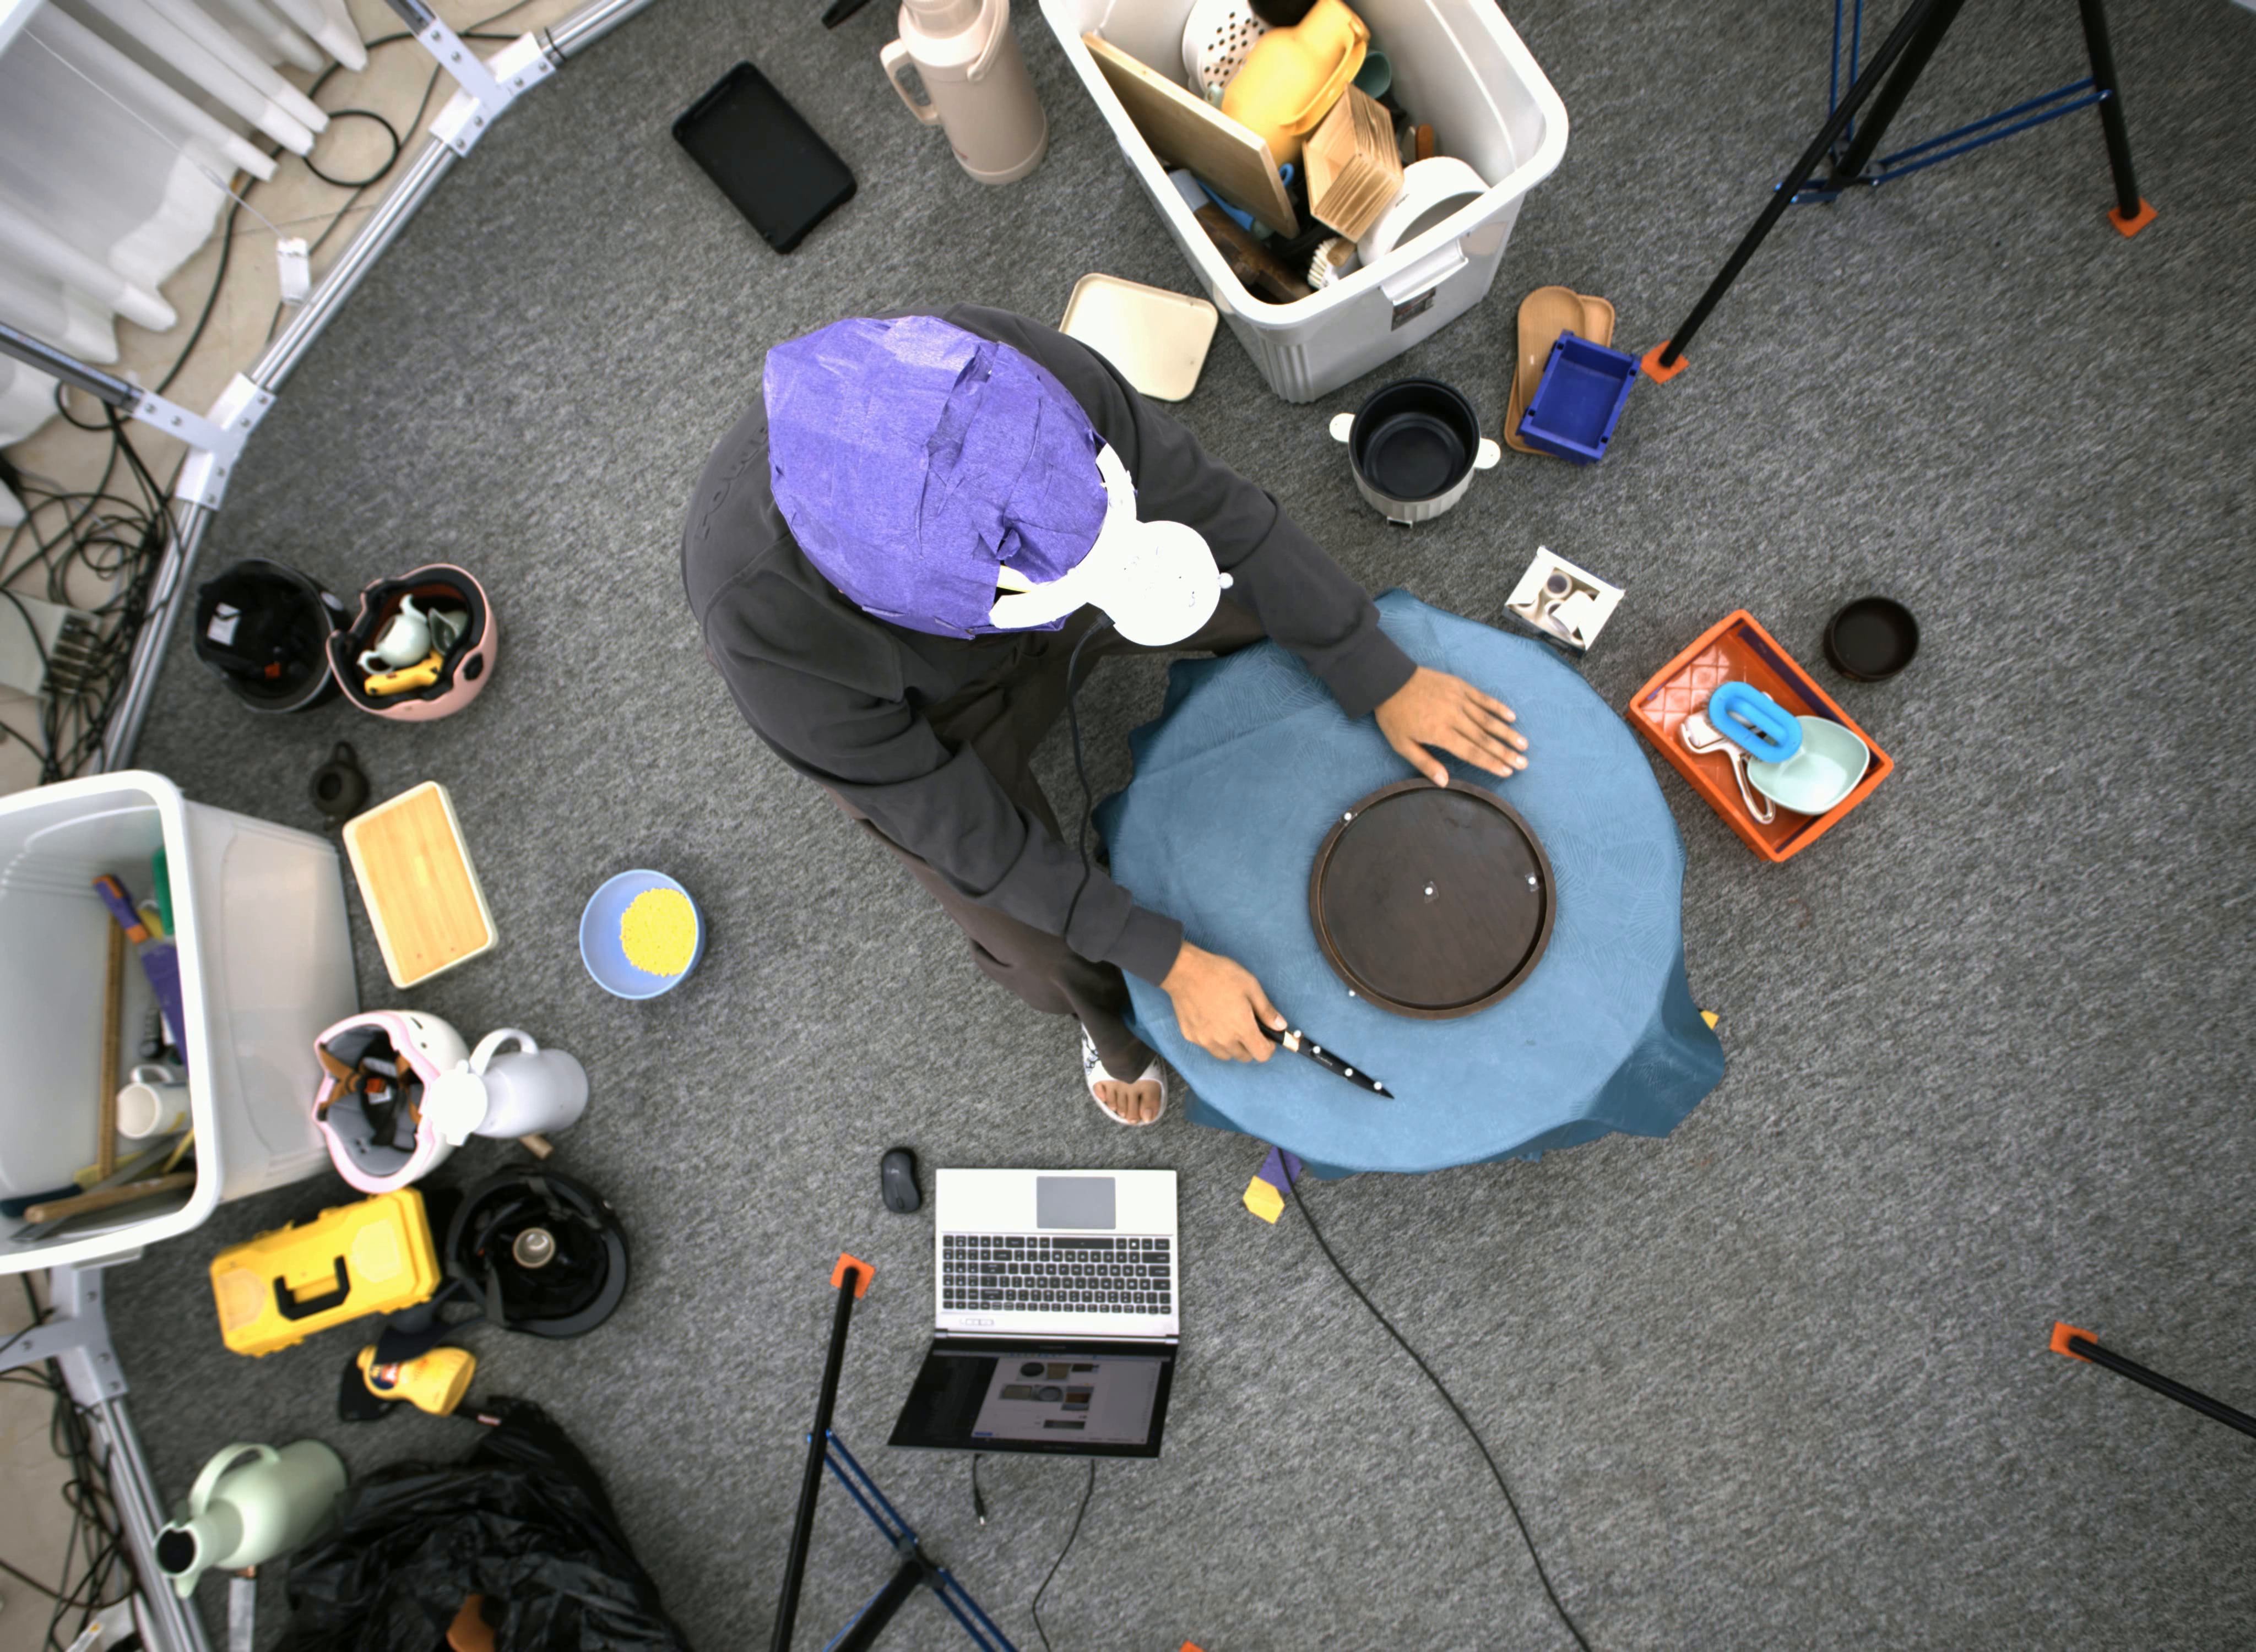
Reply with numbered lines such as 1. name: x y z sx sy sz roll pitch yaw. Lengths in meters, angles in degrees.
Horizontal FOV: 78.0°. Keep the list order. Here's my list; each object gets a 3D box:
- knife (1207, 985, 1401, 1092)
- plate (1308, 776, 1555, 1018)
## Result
1. knife: 0.184 0.225 1.453 0.225 0.025 0.018 28 137 7
2. plate: 0.316 0.072 1.440 0.256 0.029 0.253 -1 86 12
